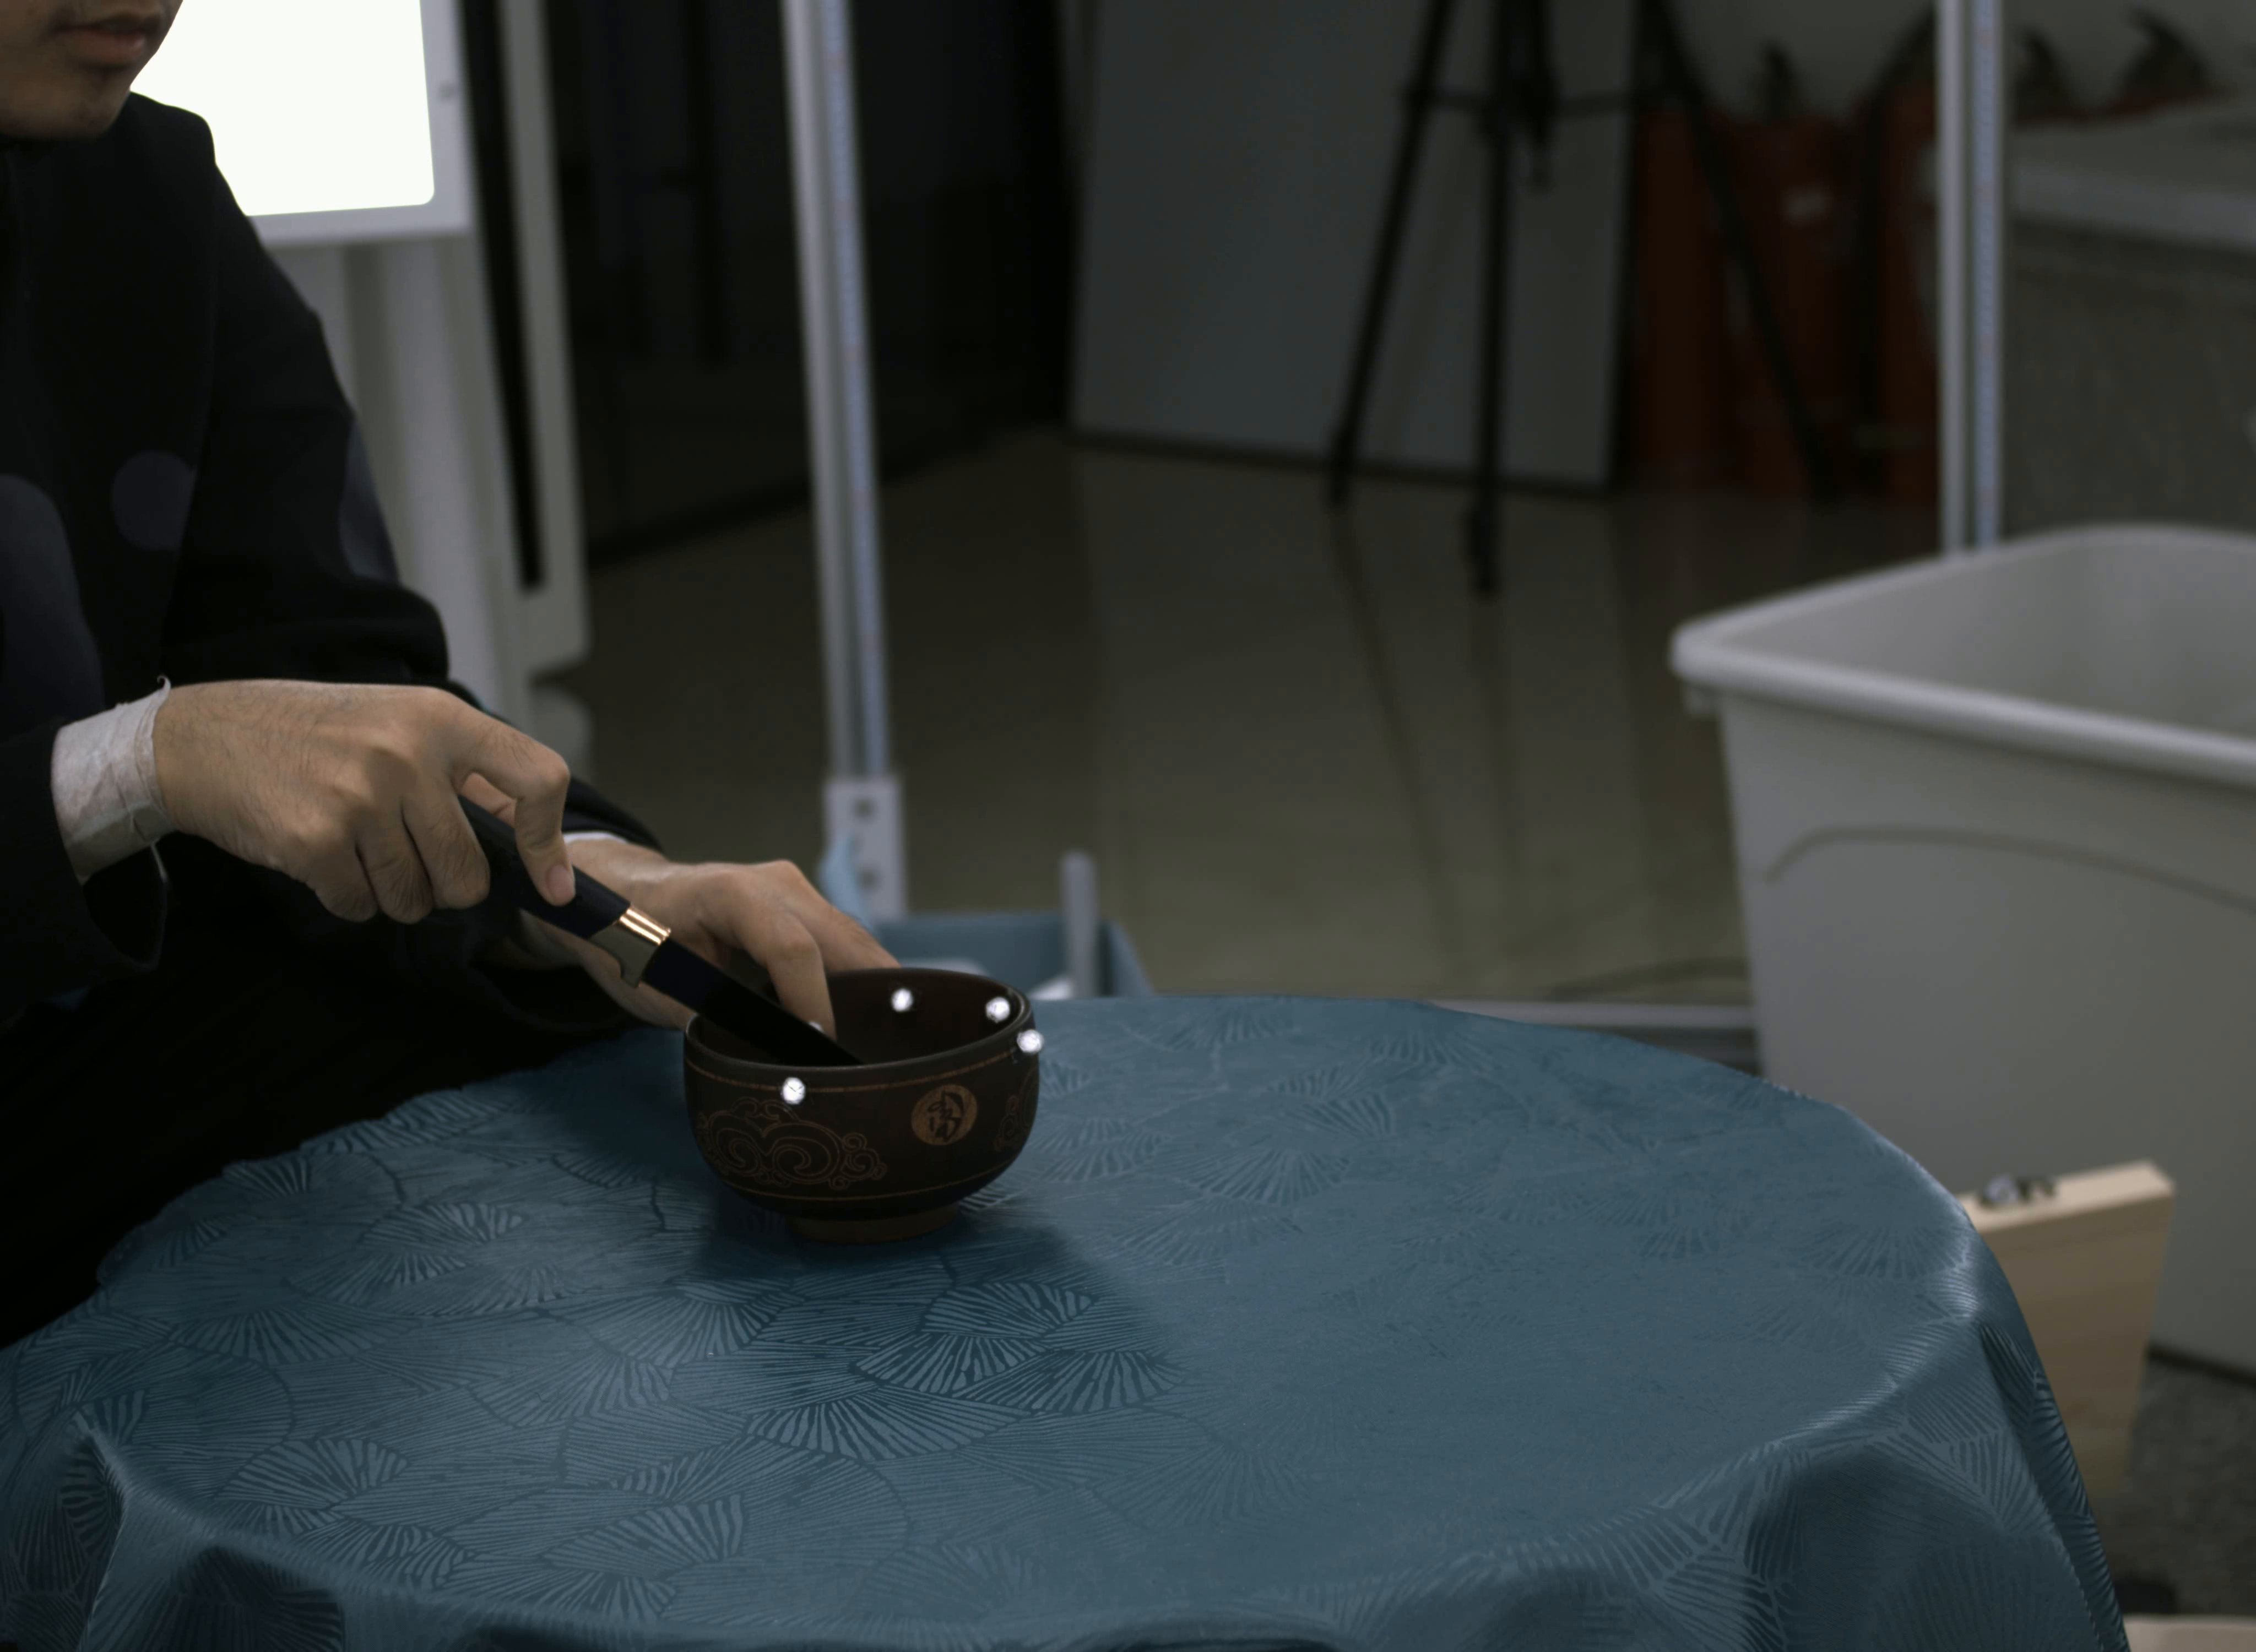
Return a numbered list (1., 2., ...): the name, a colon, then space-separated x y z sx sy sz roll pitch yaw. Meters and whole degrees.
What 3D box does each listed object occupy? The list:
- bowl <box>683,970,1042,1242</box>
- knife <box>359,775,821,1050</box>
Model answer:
1. bowl: -0.084 0.094 1.751 0.116 0.070 0.118 -5 11 0
2. knife: -0.151 0.044 1.757 0.224 0.017 0.026 31 -8 0
